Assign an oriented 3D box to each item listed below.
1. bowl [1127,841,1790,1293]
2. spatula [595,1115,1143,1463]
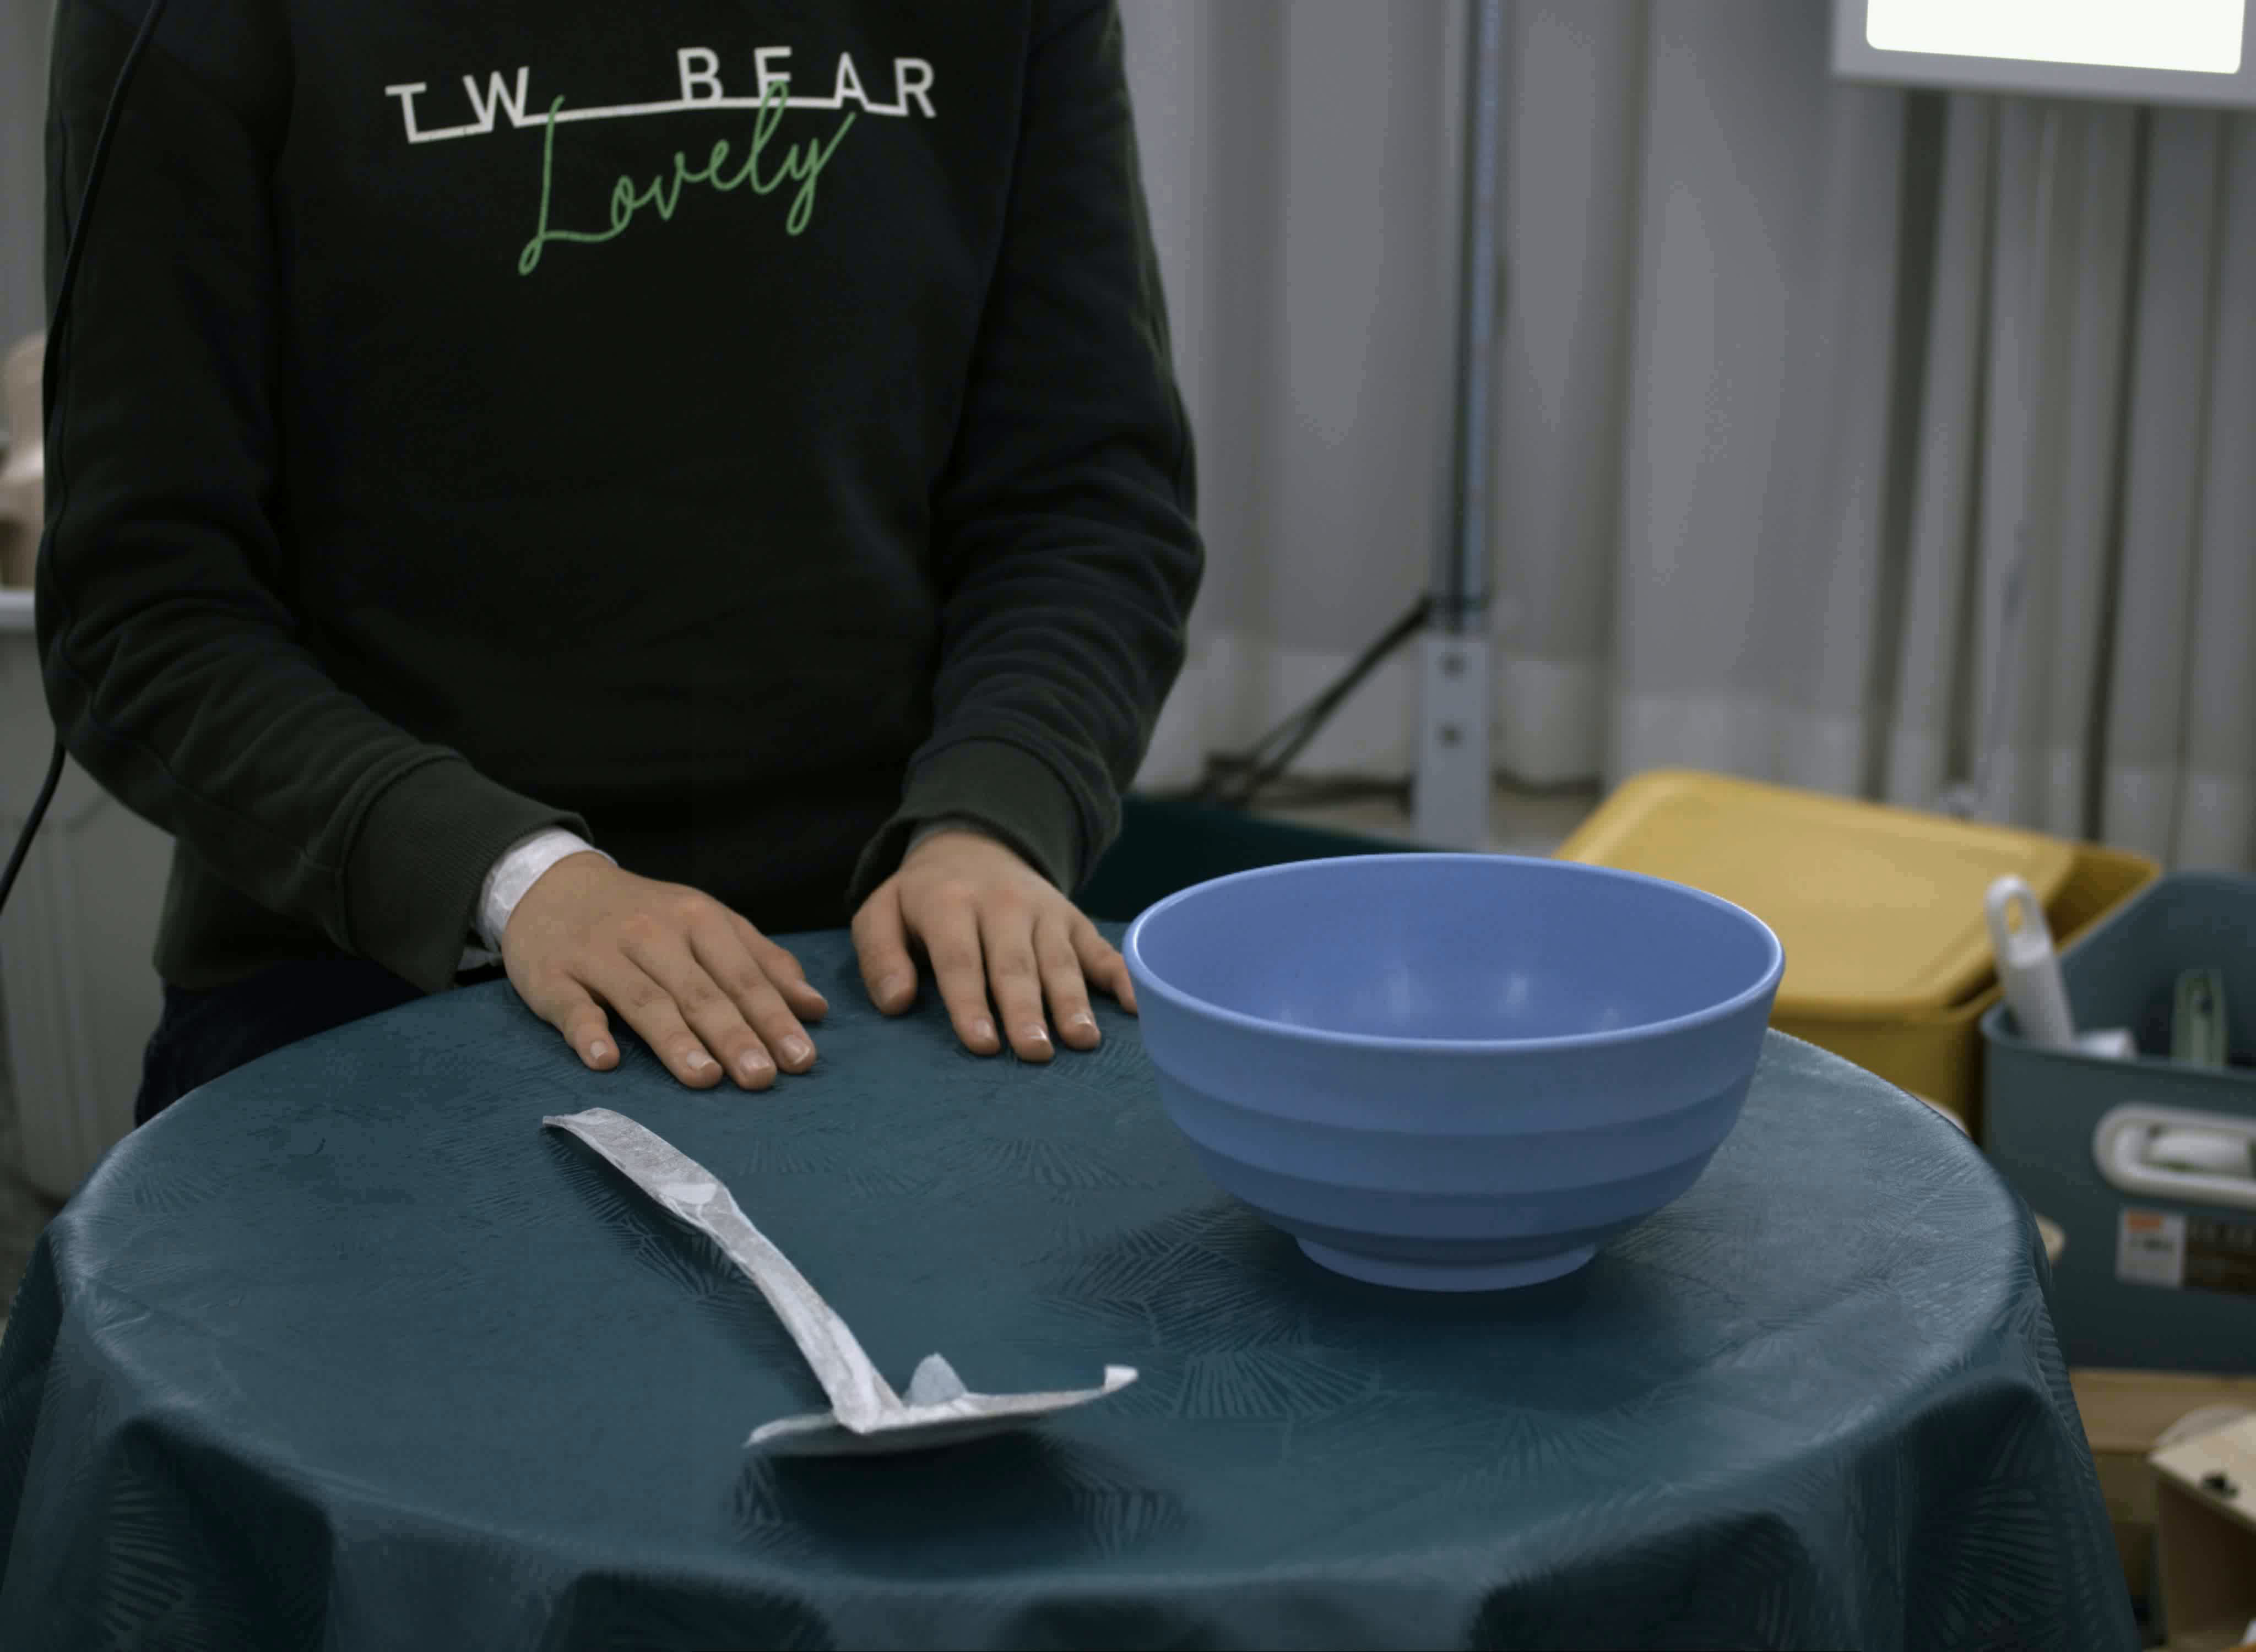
[{"bbox_3d":[0.097,0.078,1.573,0.196,0.096,0.195,1,18,0],"label":"bowl"},{"bbox_3d":[-0.100,0.123,1.513,0.099,0.045,0.360,-8,18,-21],"label":"spatula"}]
